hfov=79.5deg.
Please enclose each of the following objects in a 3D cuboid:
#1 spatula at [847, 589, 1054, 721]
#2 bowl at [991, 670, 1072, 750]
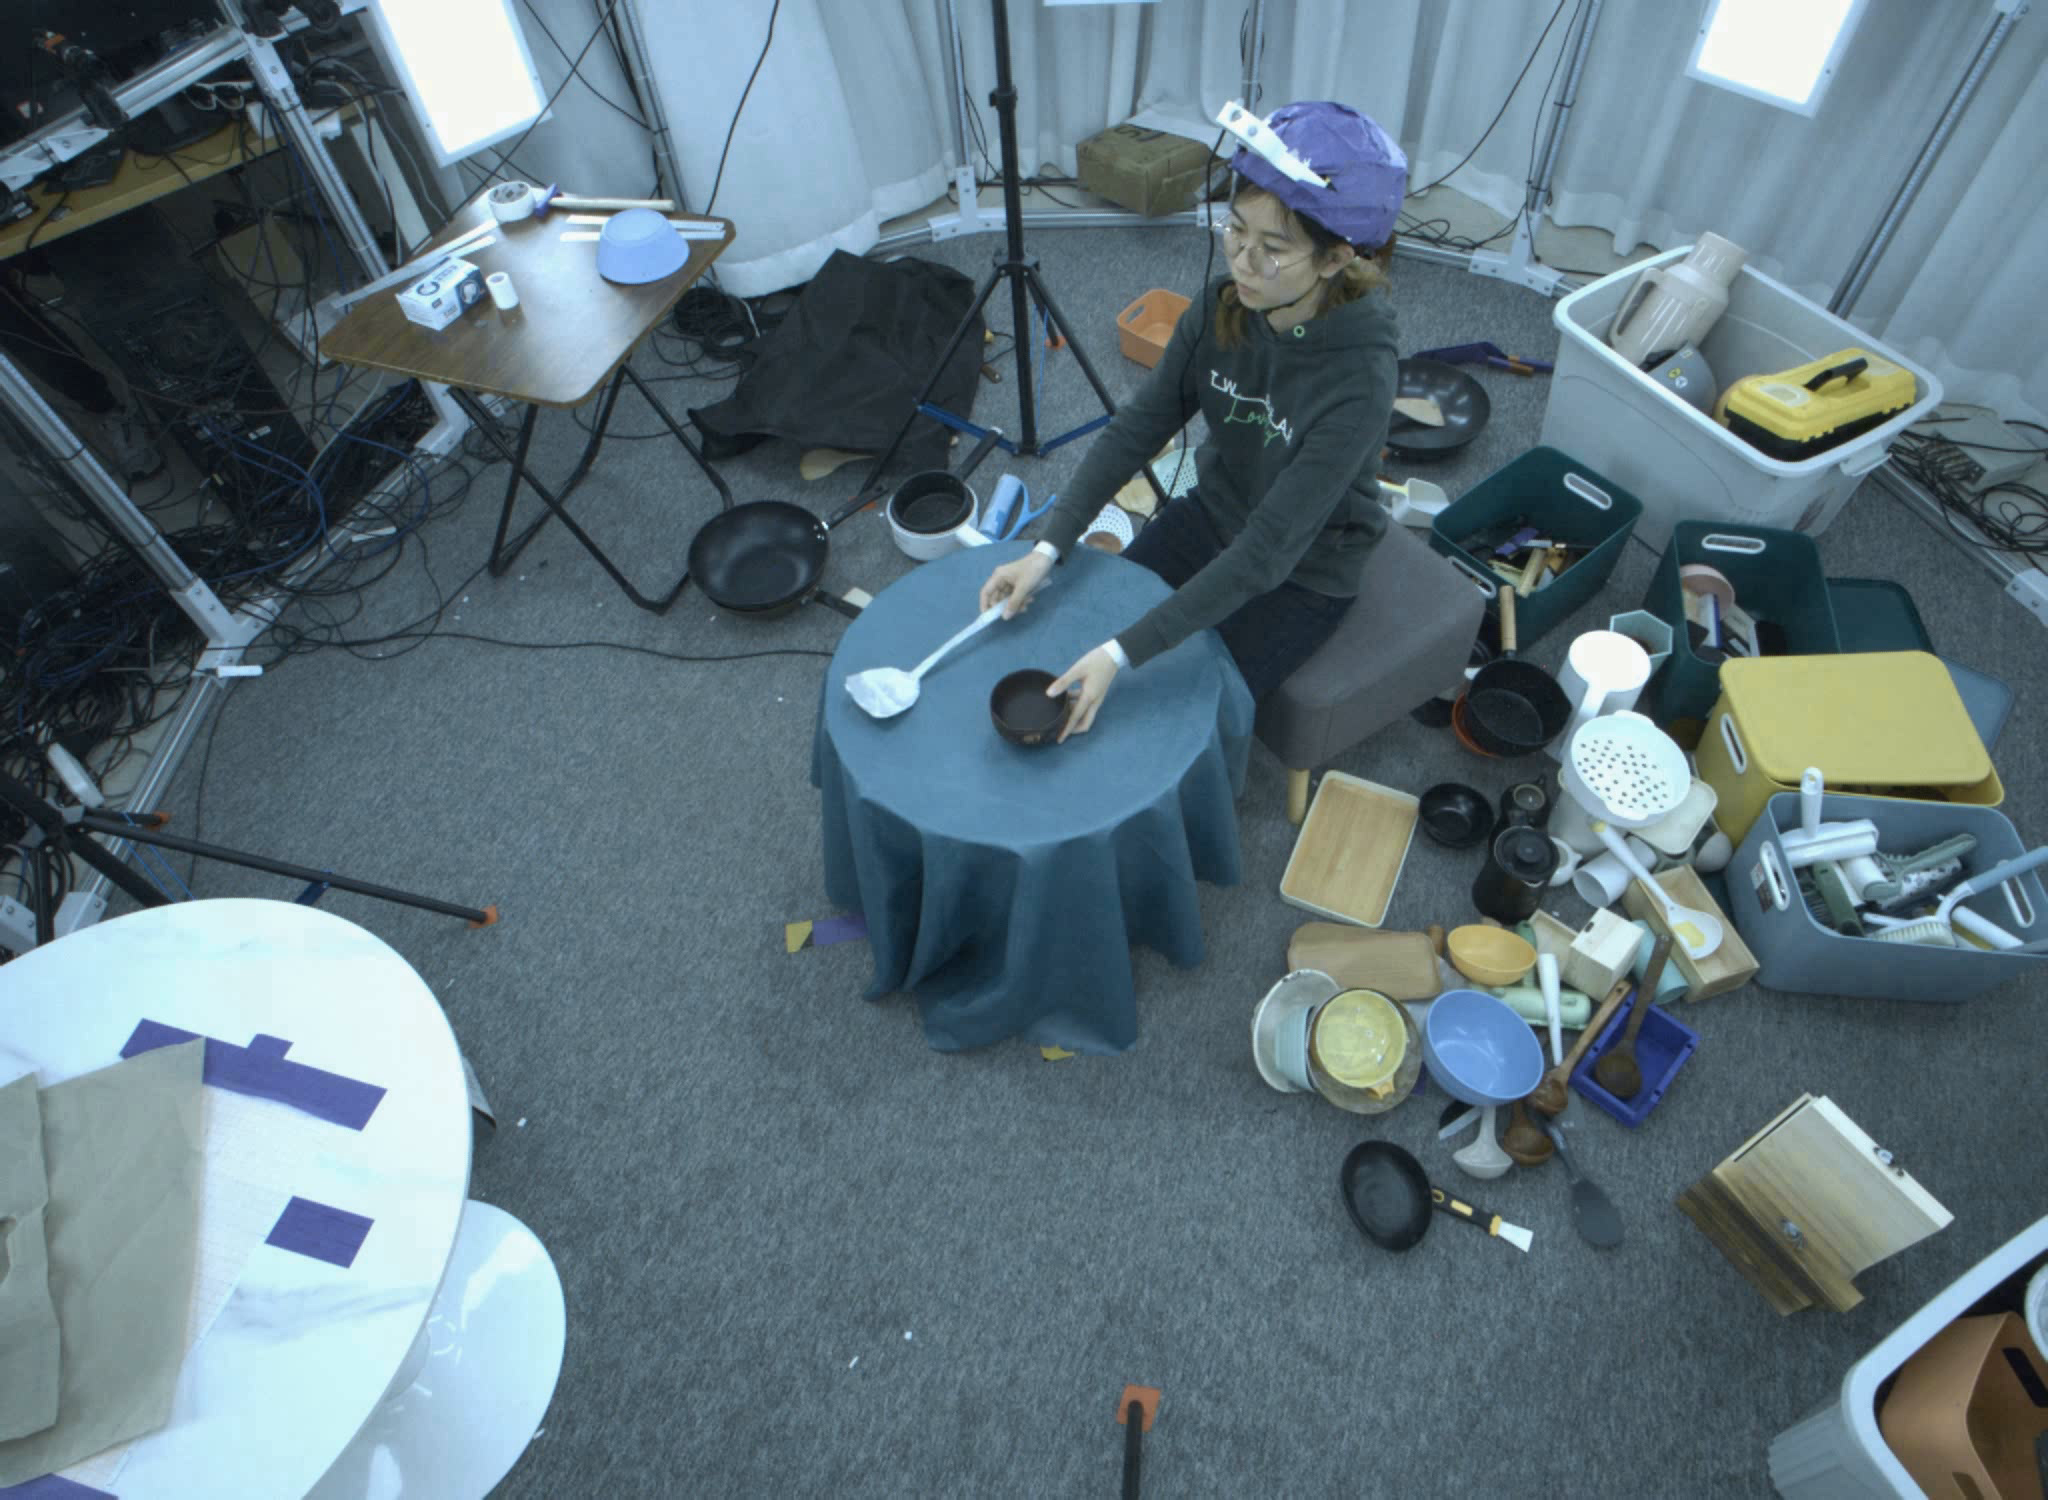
[{"bbox_3d":[-0.104,-0.161,1.877,0.367,0.045,0.097,-37,63,-15],"label":"spatula"},{"bbox_3d":[0.012,-0.050,1.788,0.118,0.070,0.117,0,56,1],"label":"bowl"}]
